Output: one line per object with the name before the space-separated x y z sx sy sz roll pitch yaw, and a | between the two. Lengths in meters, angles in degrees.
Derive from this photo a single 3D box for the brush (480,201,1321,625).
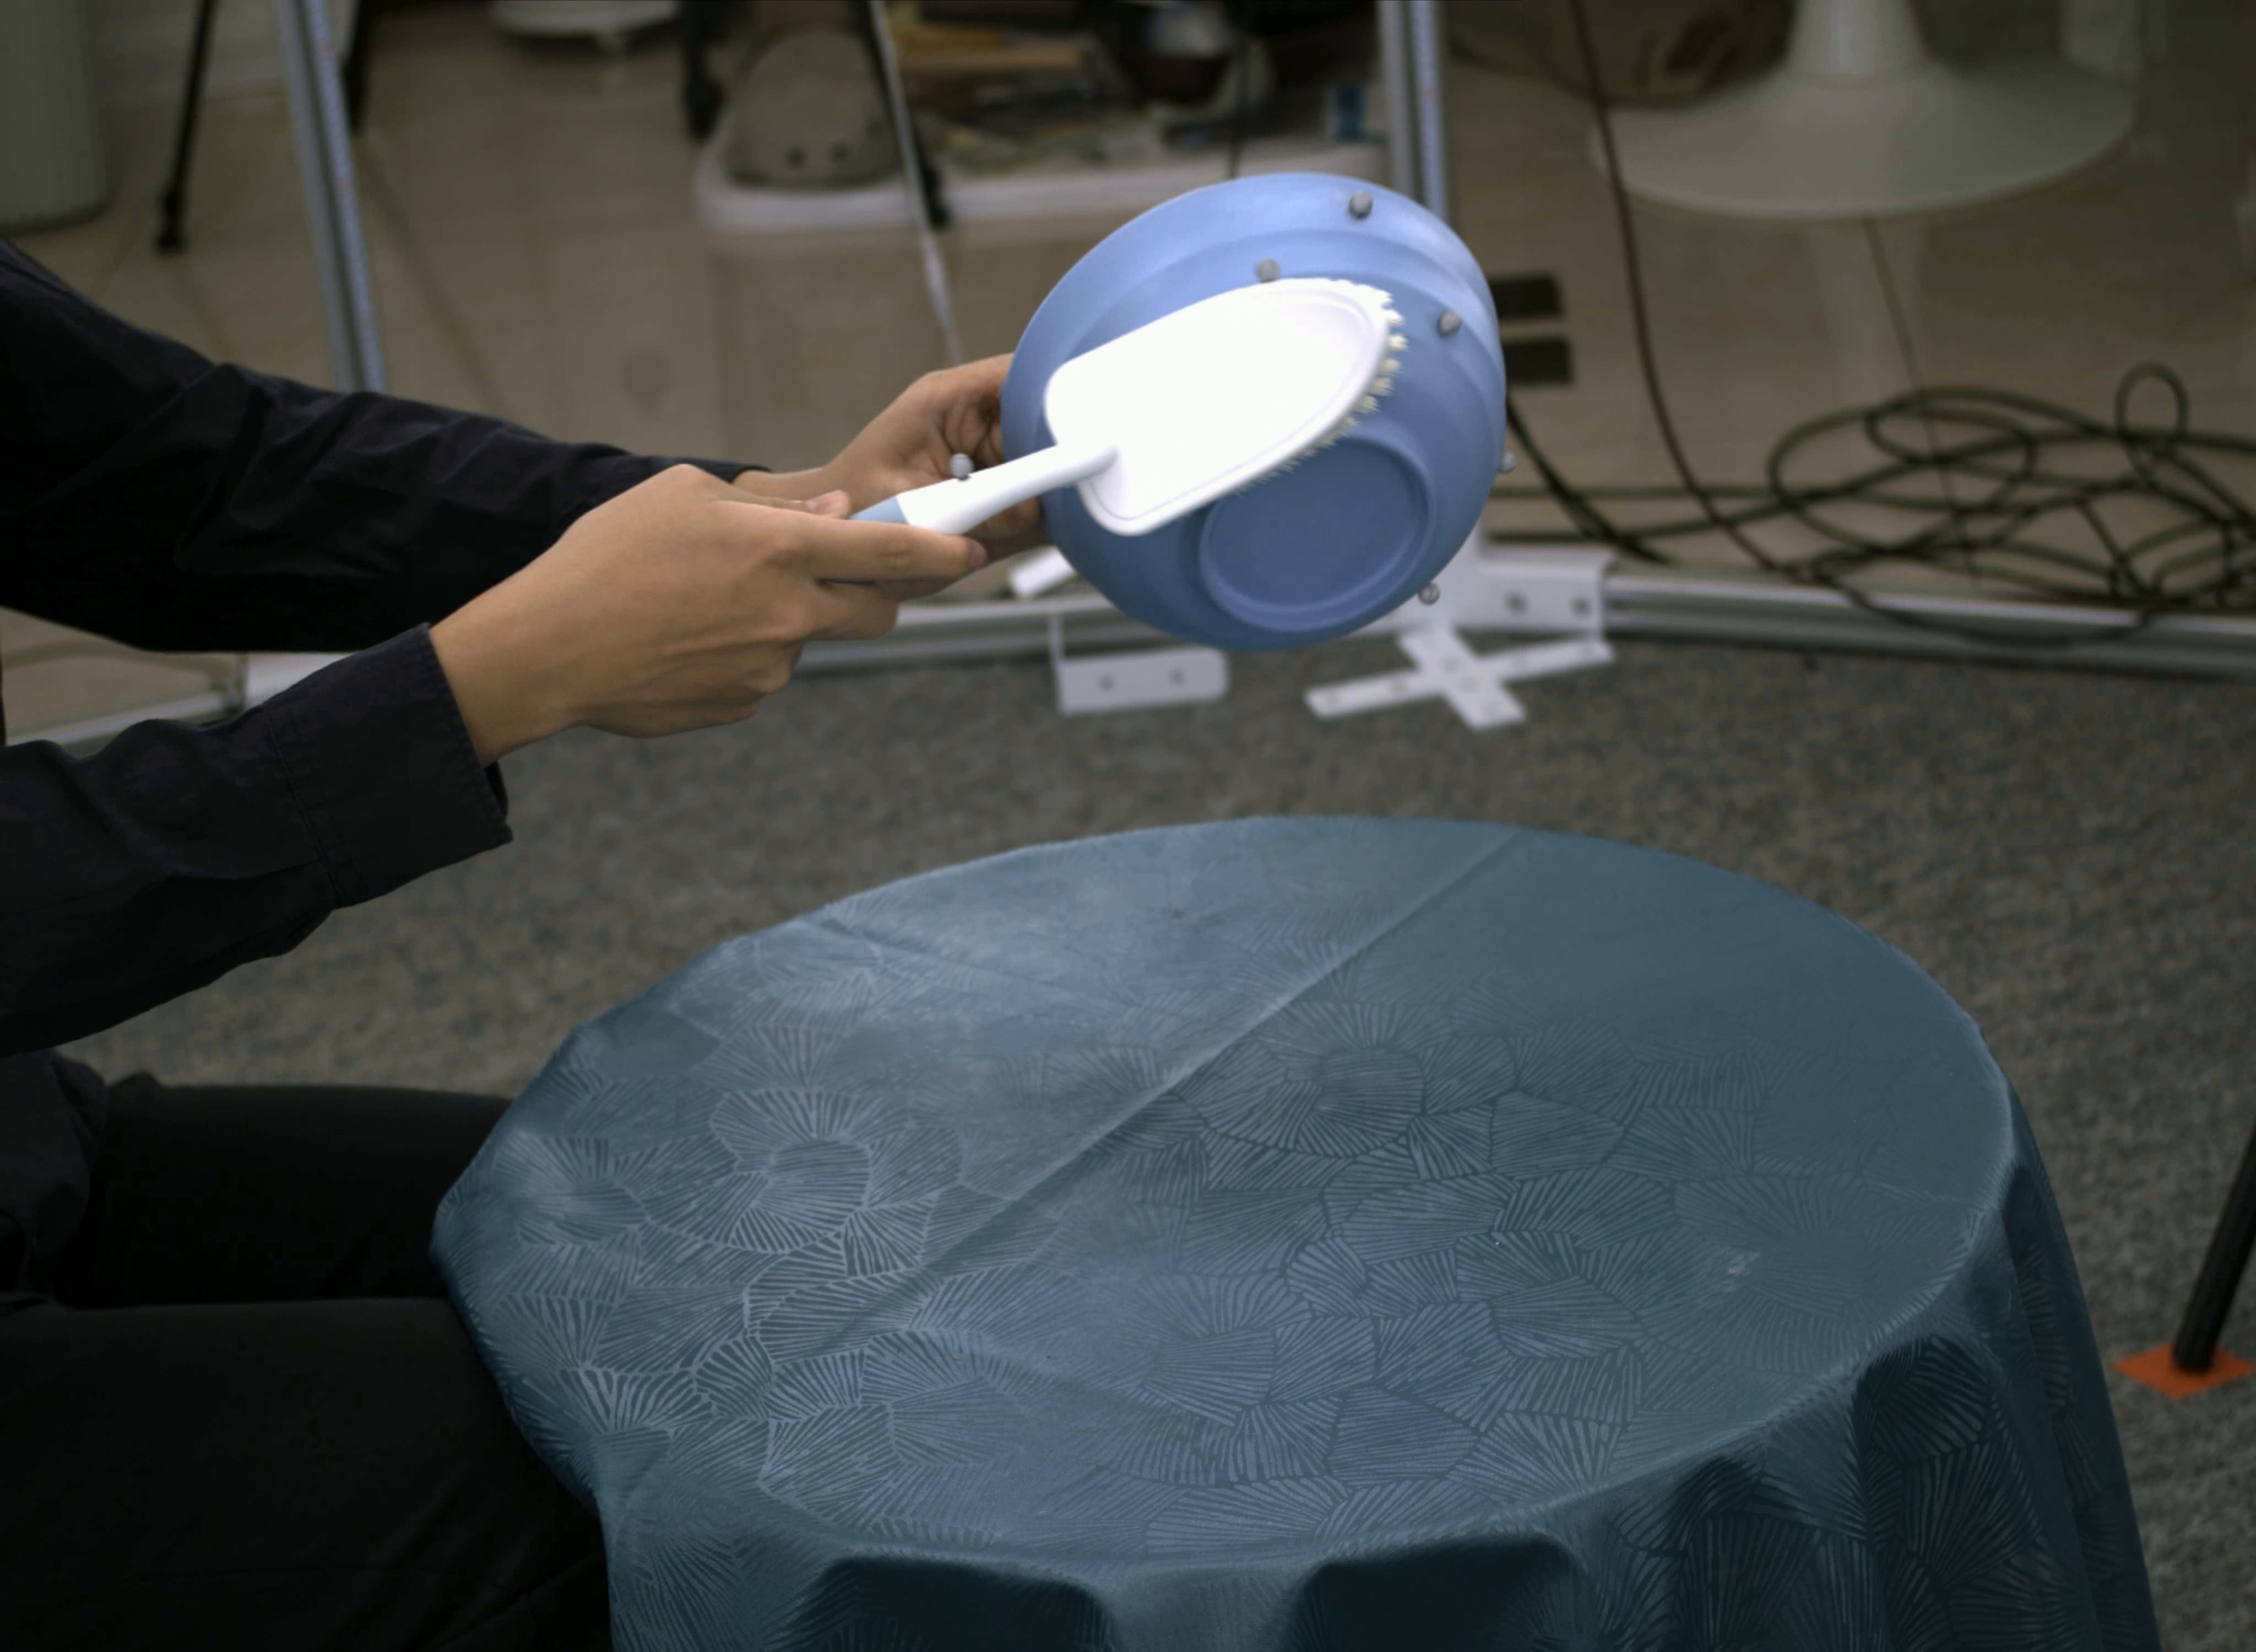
brush | -0.083 -0.150 2.043 0.325 0.086 0.082 -24 55 2

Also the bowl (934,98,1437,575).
bowl | 0.032 -0.166 2.124 0.196 0.200 0.094 -11 44 -9
